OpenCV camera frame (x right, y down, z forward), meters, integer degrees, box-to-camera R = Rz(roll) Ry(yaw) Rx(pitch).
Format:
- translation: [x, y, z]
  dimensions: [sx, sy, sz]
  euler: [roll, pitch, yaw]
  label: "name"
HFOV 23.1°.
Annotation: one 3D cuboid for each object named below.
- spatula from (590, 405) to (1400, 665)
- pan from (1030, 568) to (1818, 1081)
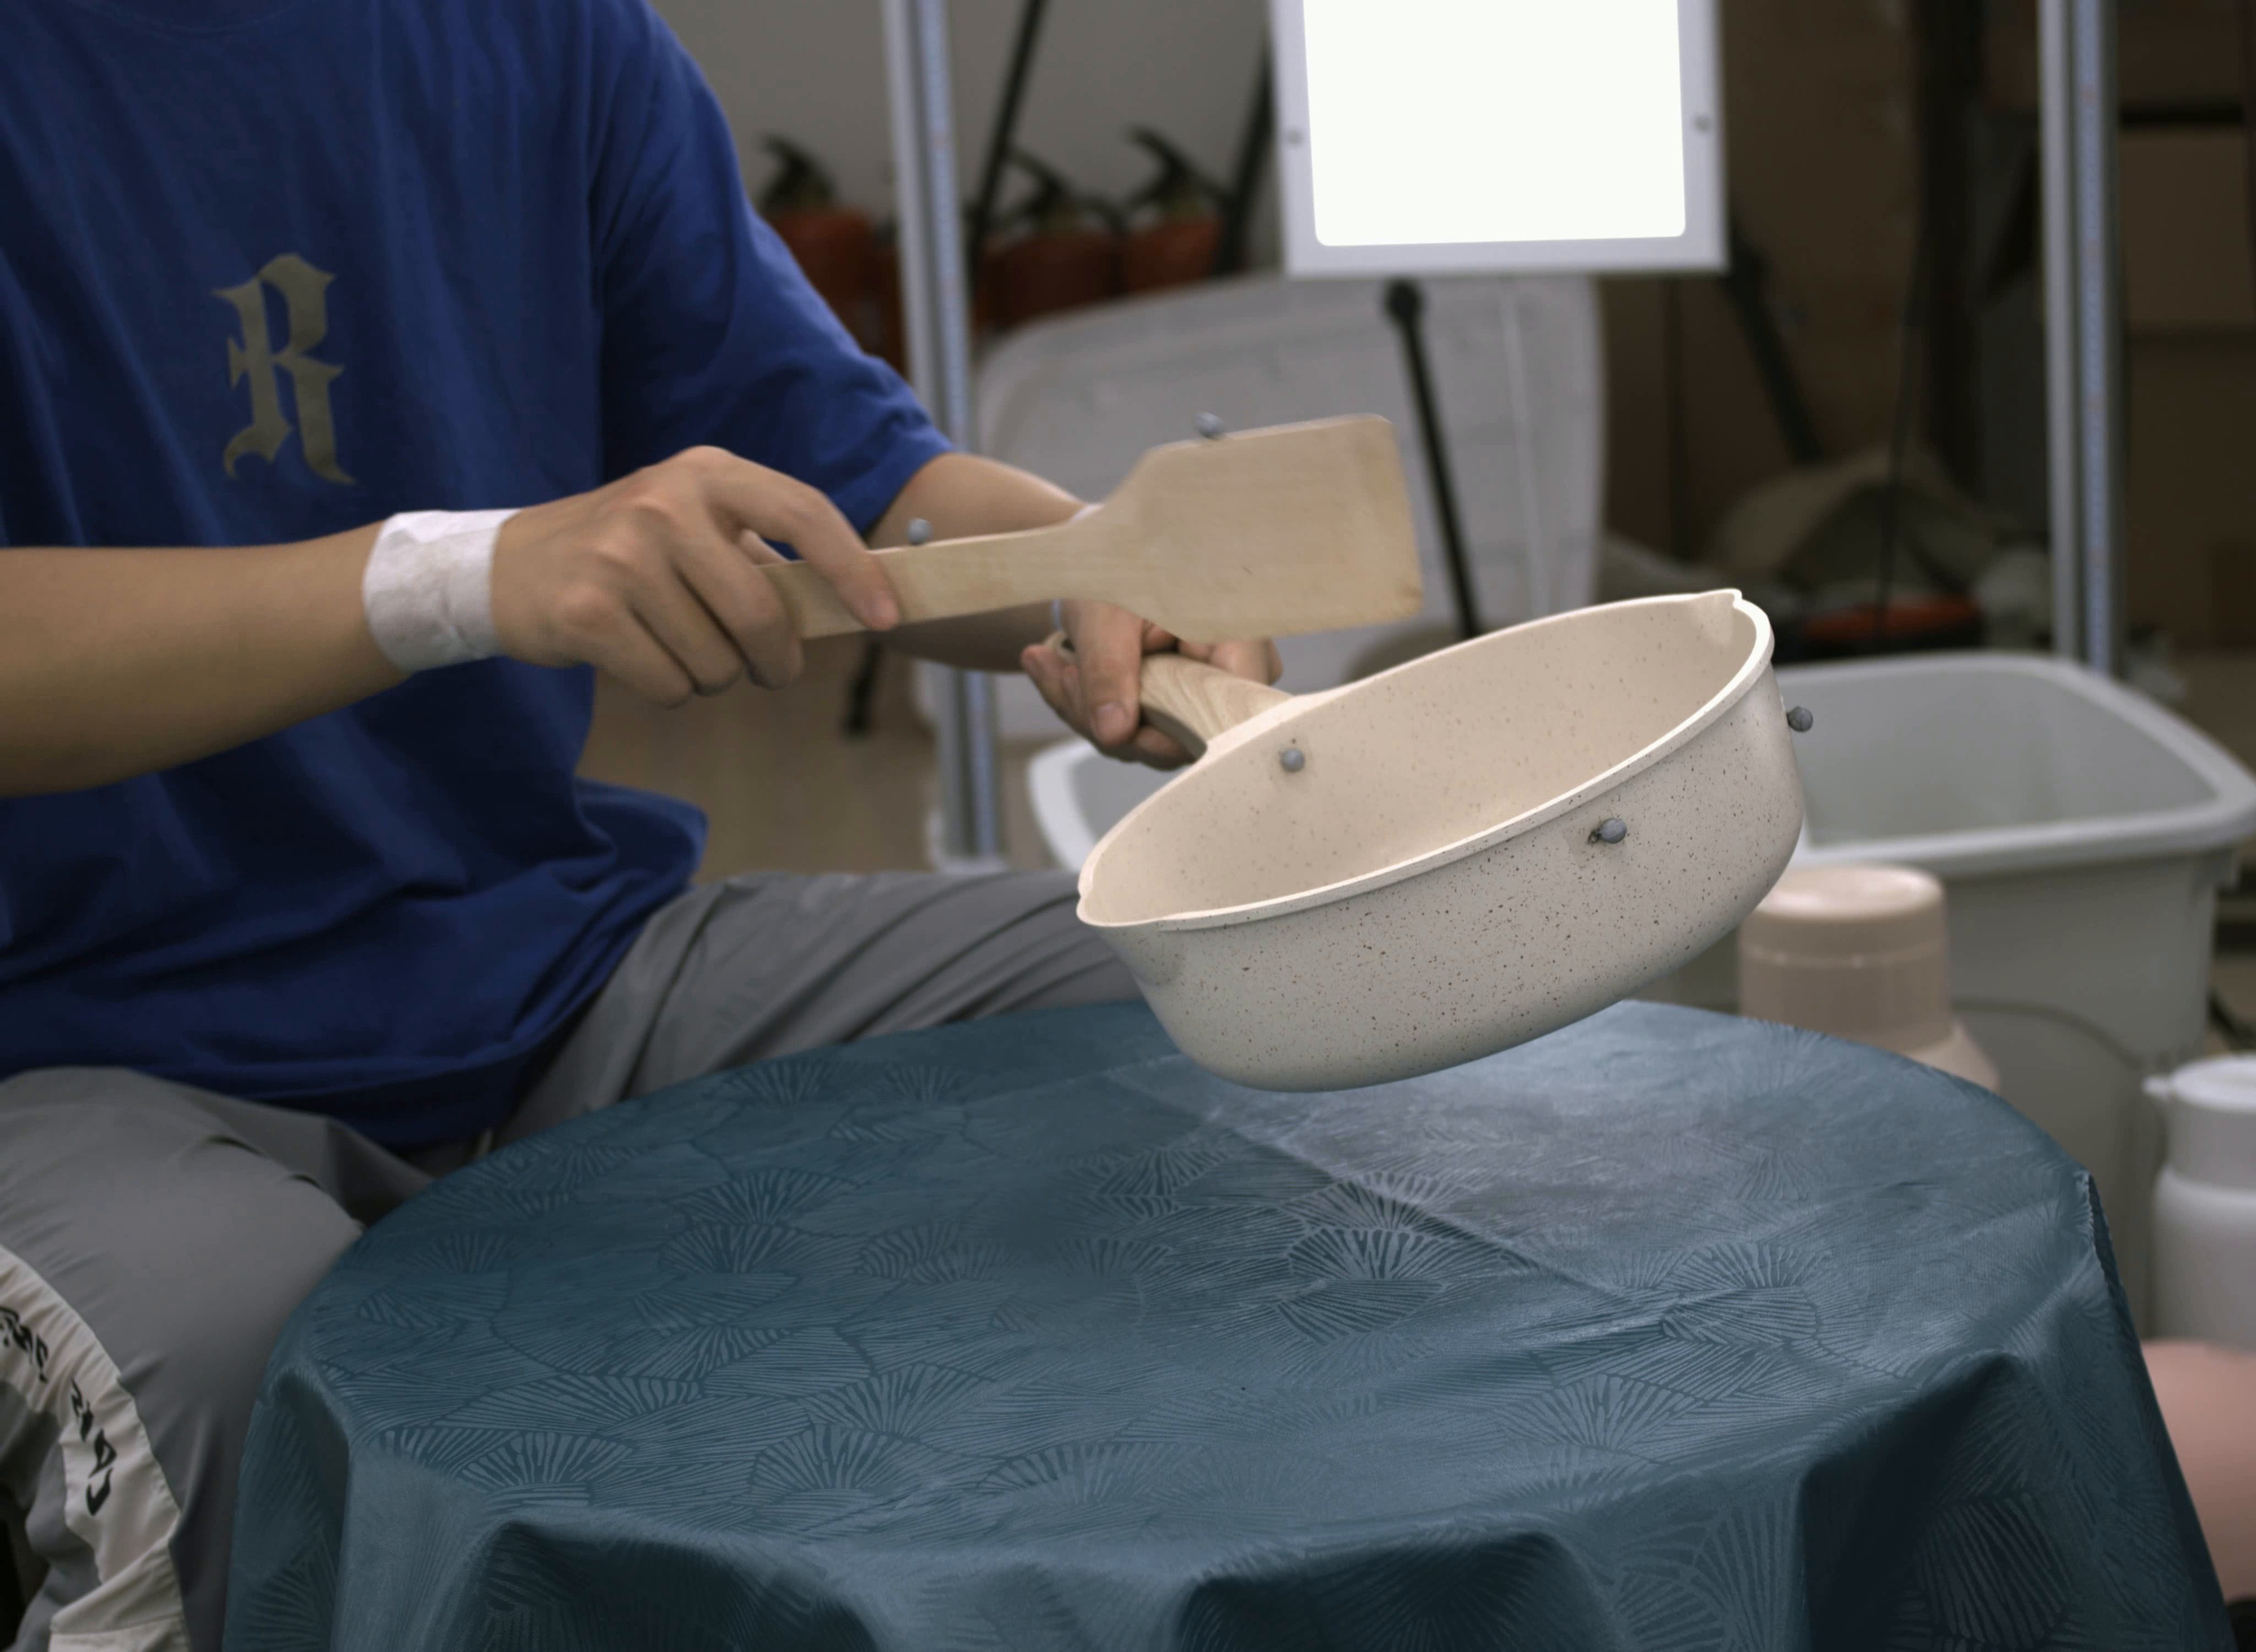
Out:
- translation: [-0.051, -0.088, 1.864]
  dimensions: [0.297, 0.072, 0.010]
  euler: [-8, 15, 23]
  label: "spatula"
- translation: [0.079, -0.009, 1.948]
  dimensions: [0.259, 0.102, 0.441]
  euler: [-29, 15, -18]
  label: "pan"
